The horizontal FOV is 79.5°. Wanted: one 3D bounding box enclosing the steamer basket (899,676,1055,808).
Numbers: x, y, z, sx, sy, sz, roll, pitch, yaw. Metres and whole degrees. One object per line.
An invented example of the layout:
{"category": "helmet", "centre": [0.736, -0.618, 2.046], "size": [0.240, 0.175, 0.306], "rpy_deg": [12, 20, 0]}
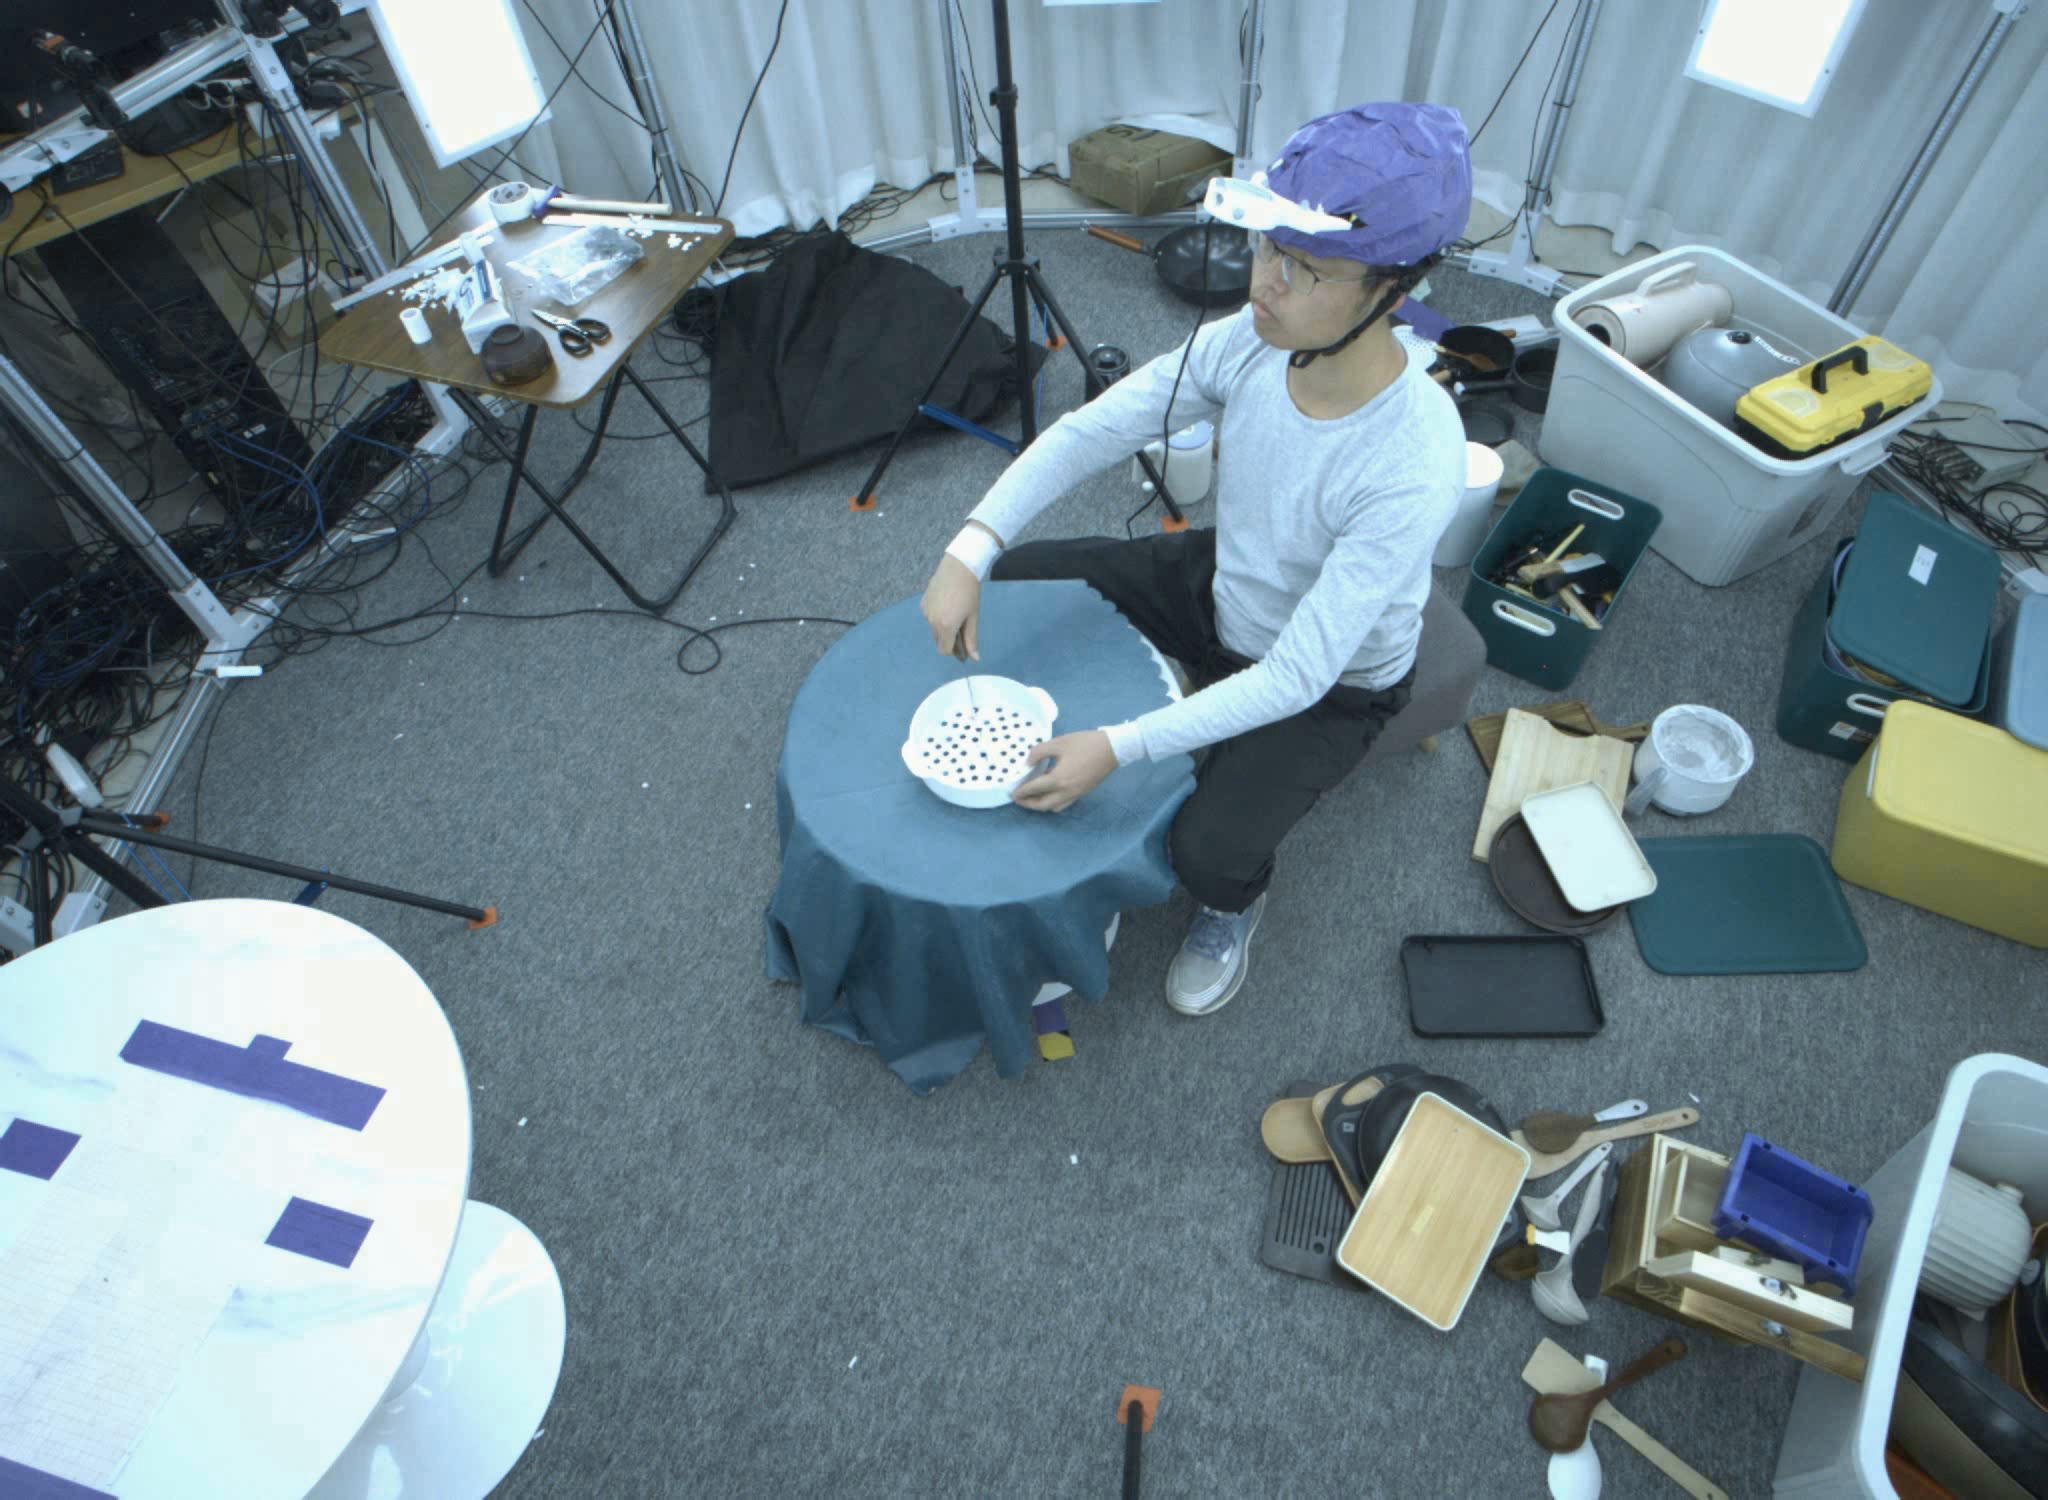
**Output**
{"category": "steamer basket", "centre": [-0.065, -0.009, 1.762], "size": [0.232, 0.070, 0.198], "rpy_deg": [-24, 58, -16]}

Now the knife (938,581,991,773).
{"category": "knife", "centre": [-0.082, -0.106, 1.758], "size": [0.020, 0.050, 0.287], "rpy_deg": [-14, 81, 0]}
